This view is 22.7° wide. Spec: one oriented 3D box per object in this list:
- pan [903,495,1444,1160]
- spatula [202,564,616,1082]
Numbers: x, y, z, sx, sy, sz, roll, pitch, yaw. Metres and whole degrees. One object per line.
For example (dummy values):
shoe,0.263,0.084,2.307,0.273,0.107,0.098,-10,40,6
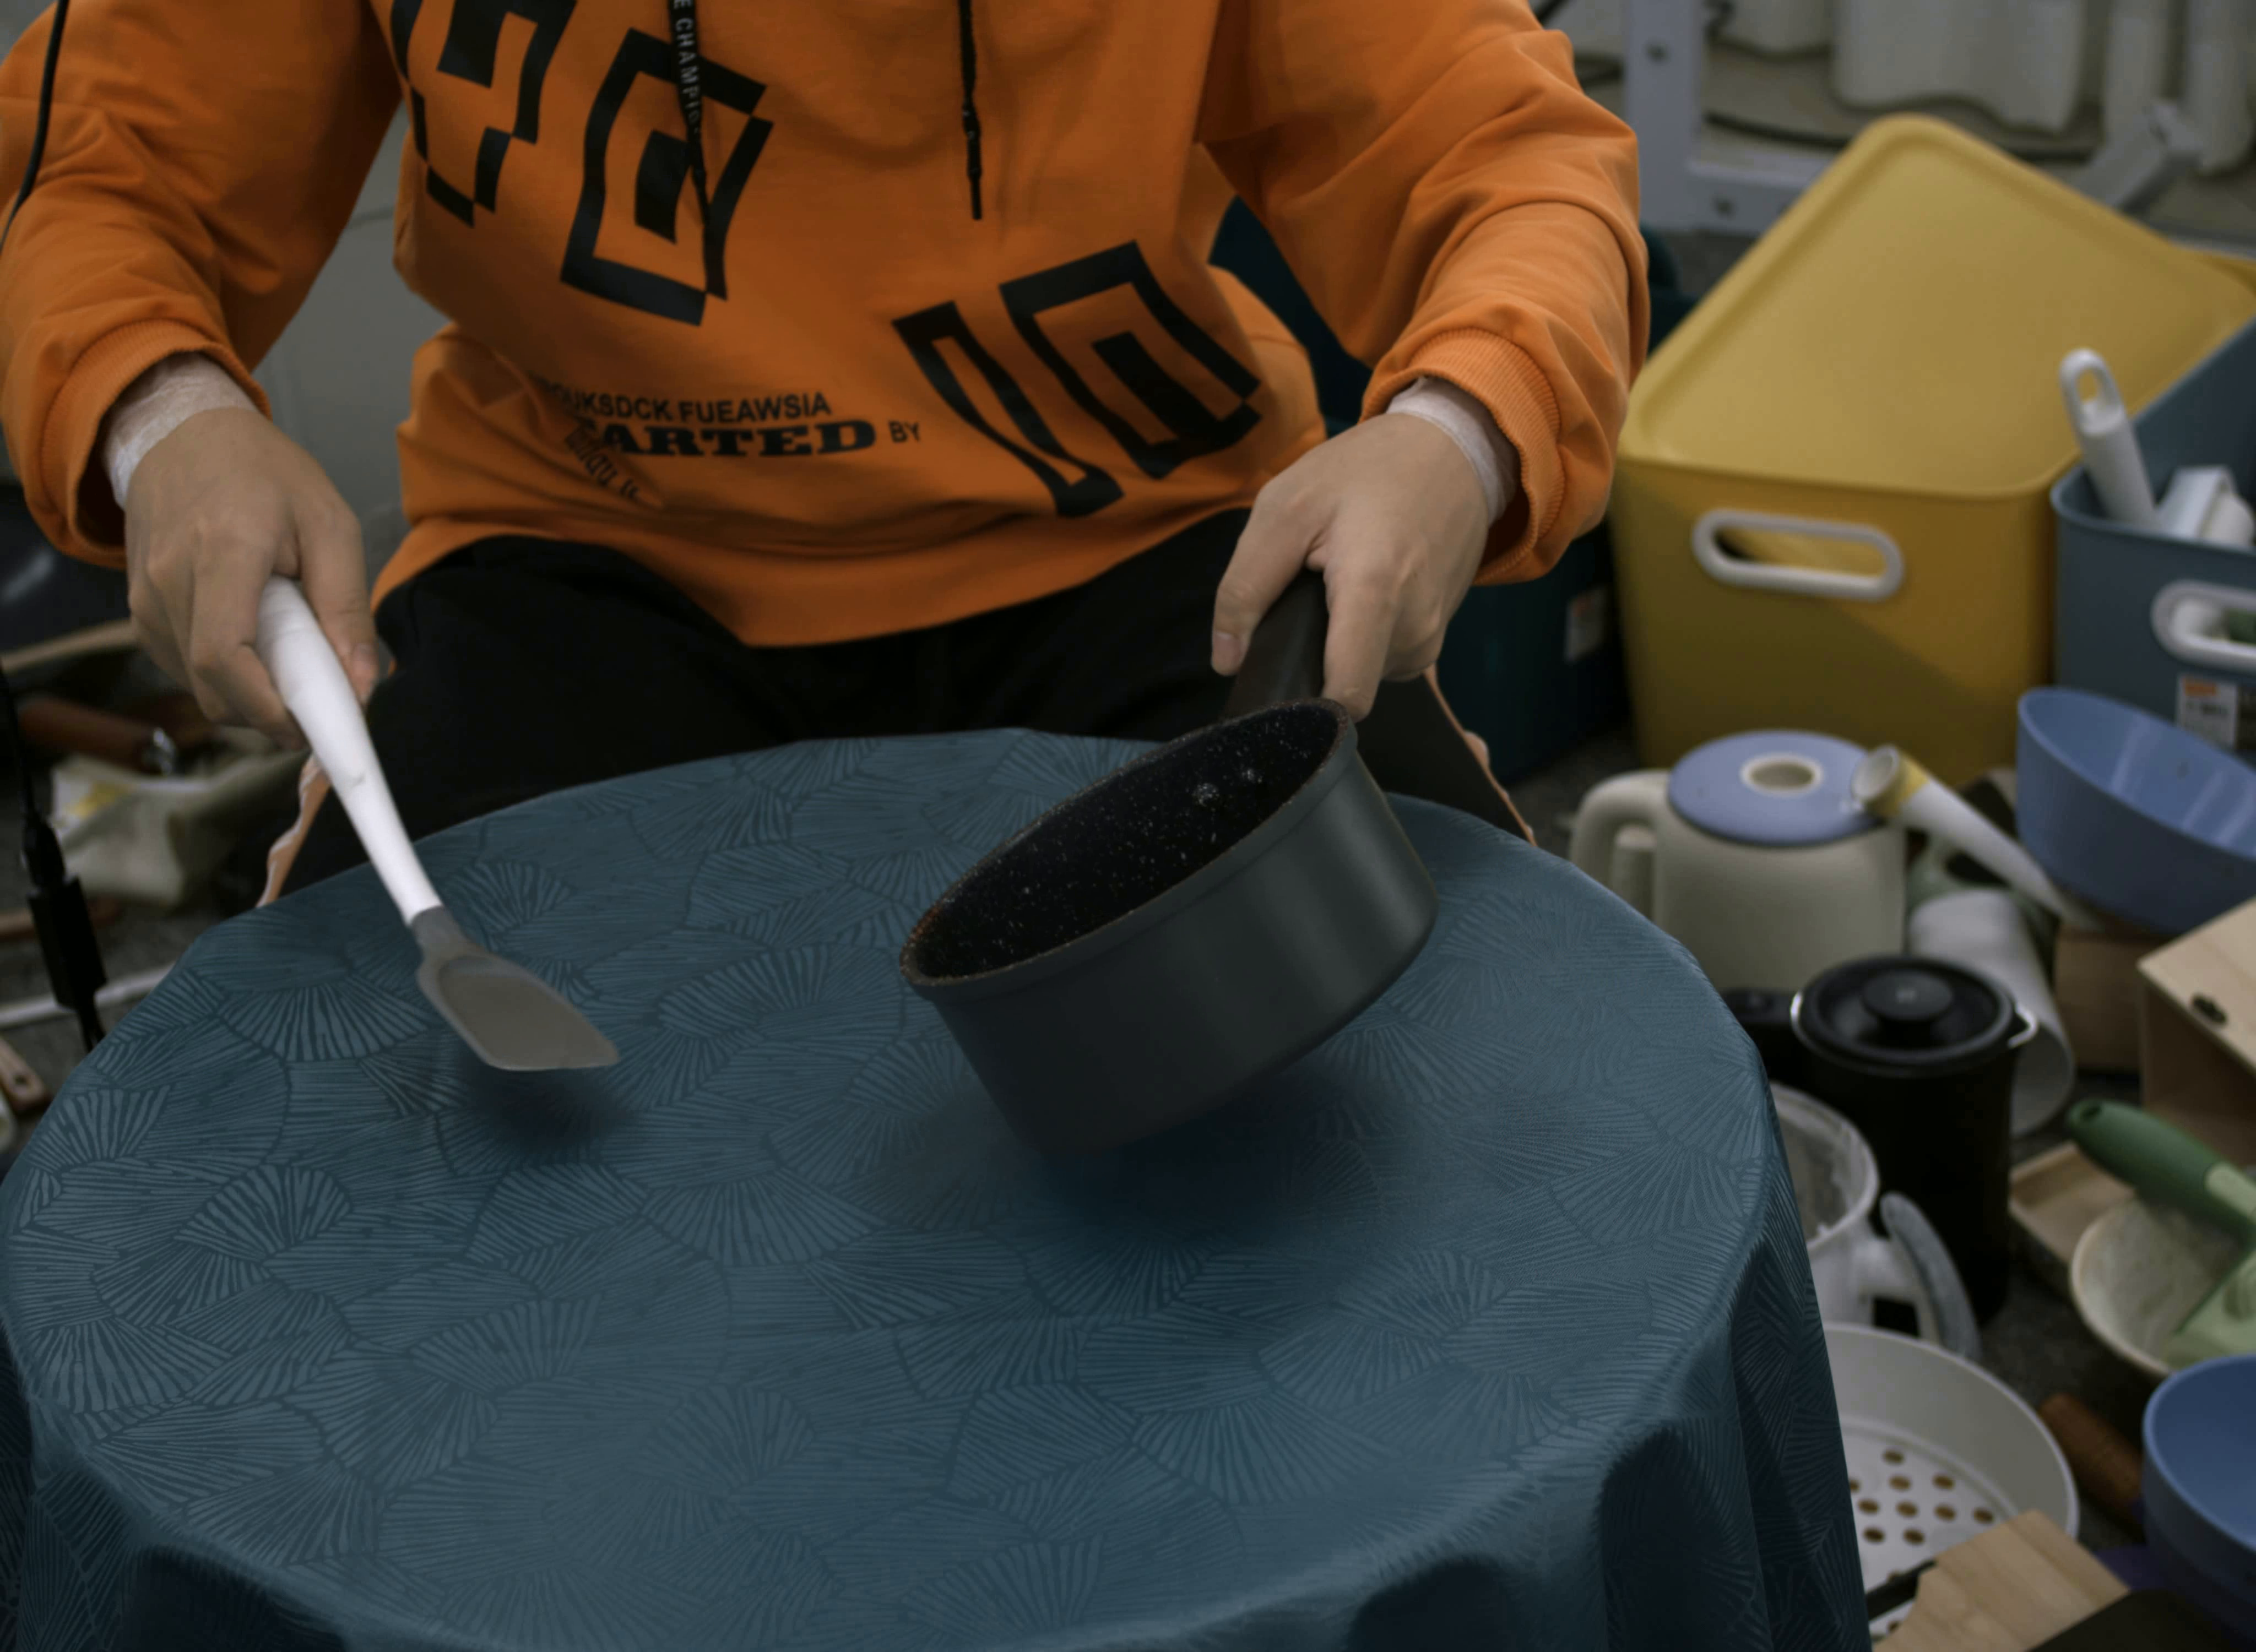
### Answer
pan,0.044,-0.005,1.925,0.169,0.086,0.334,-21,19,31
spatula,-0.261,0.004,1.981,0.059,0.032,0.290,6,34,-39
